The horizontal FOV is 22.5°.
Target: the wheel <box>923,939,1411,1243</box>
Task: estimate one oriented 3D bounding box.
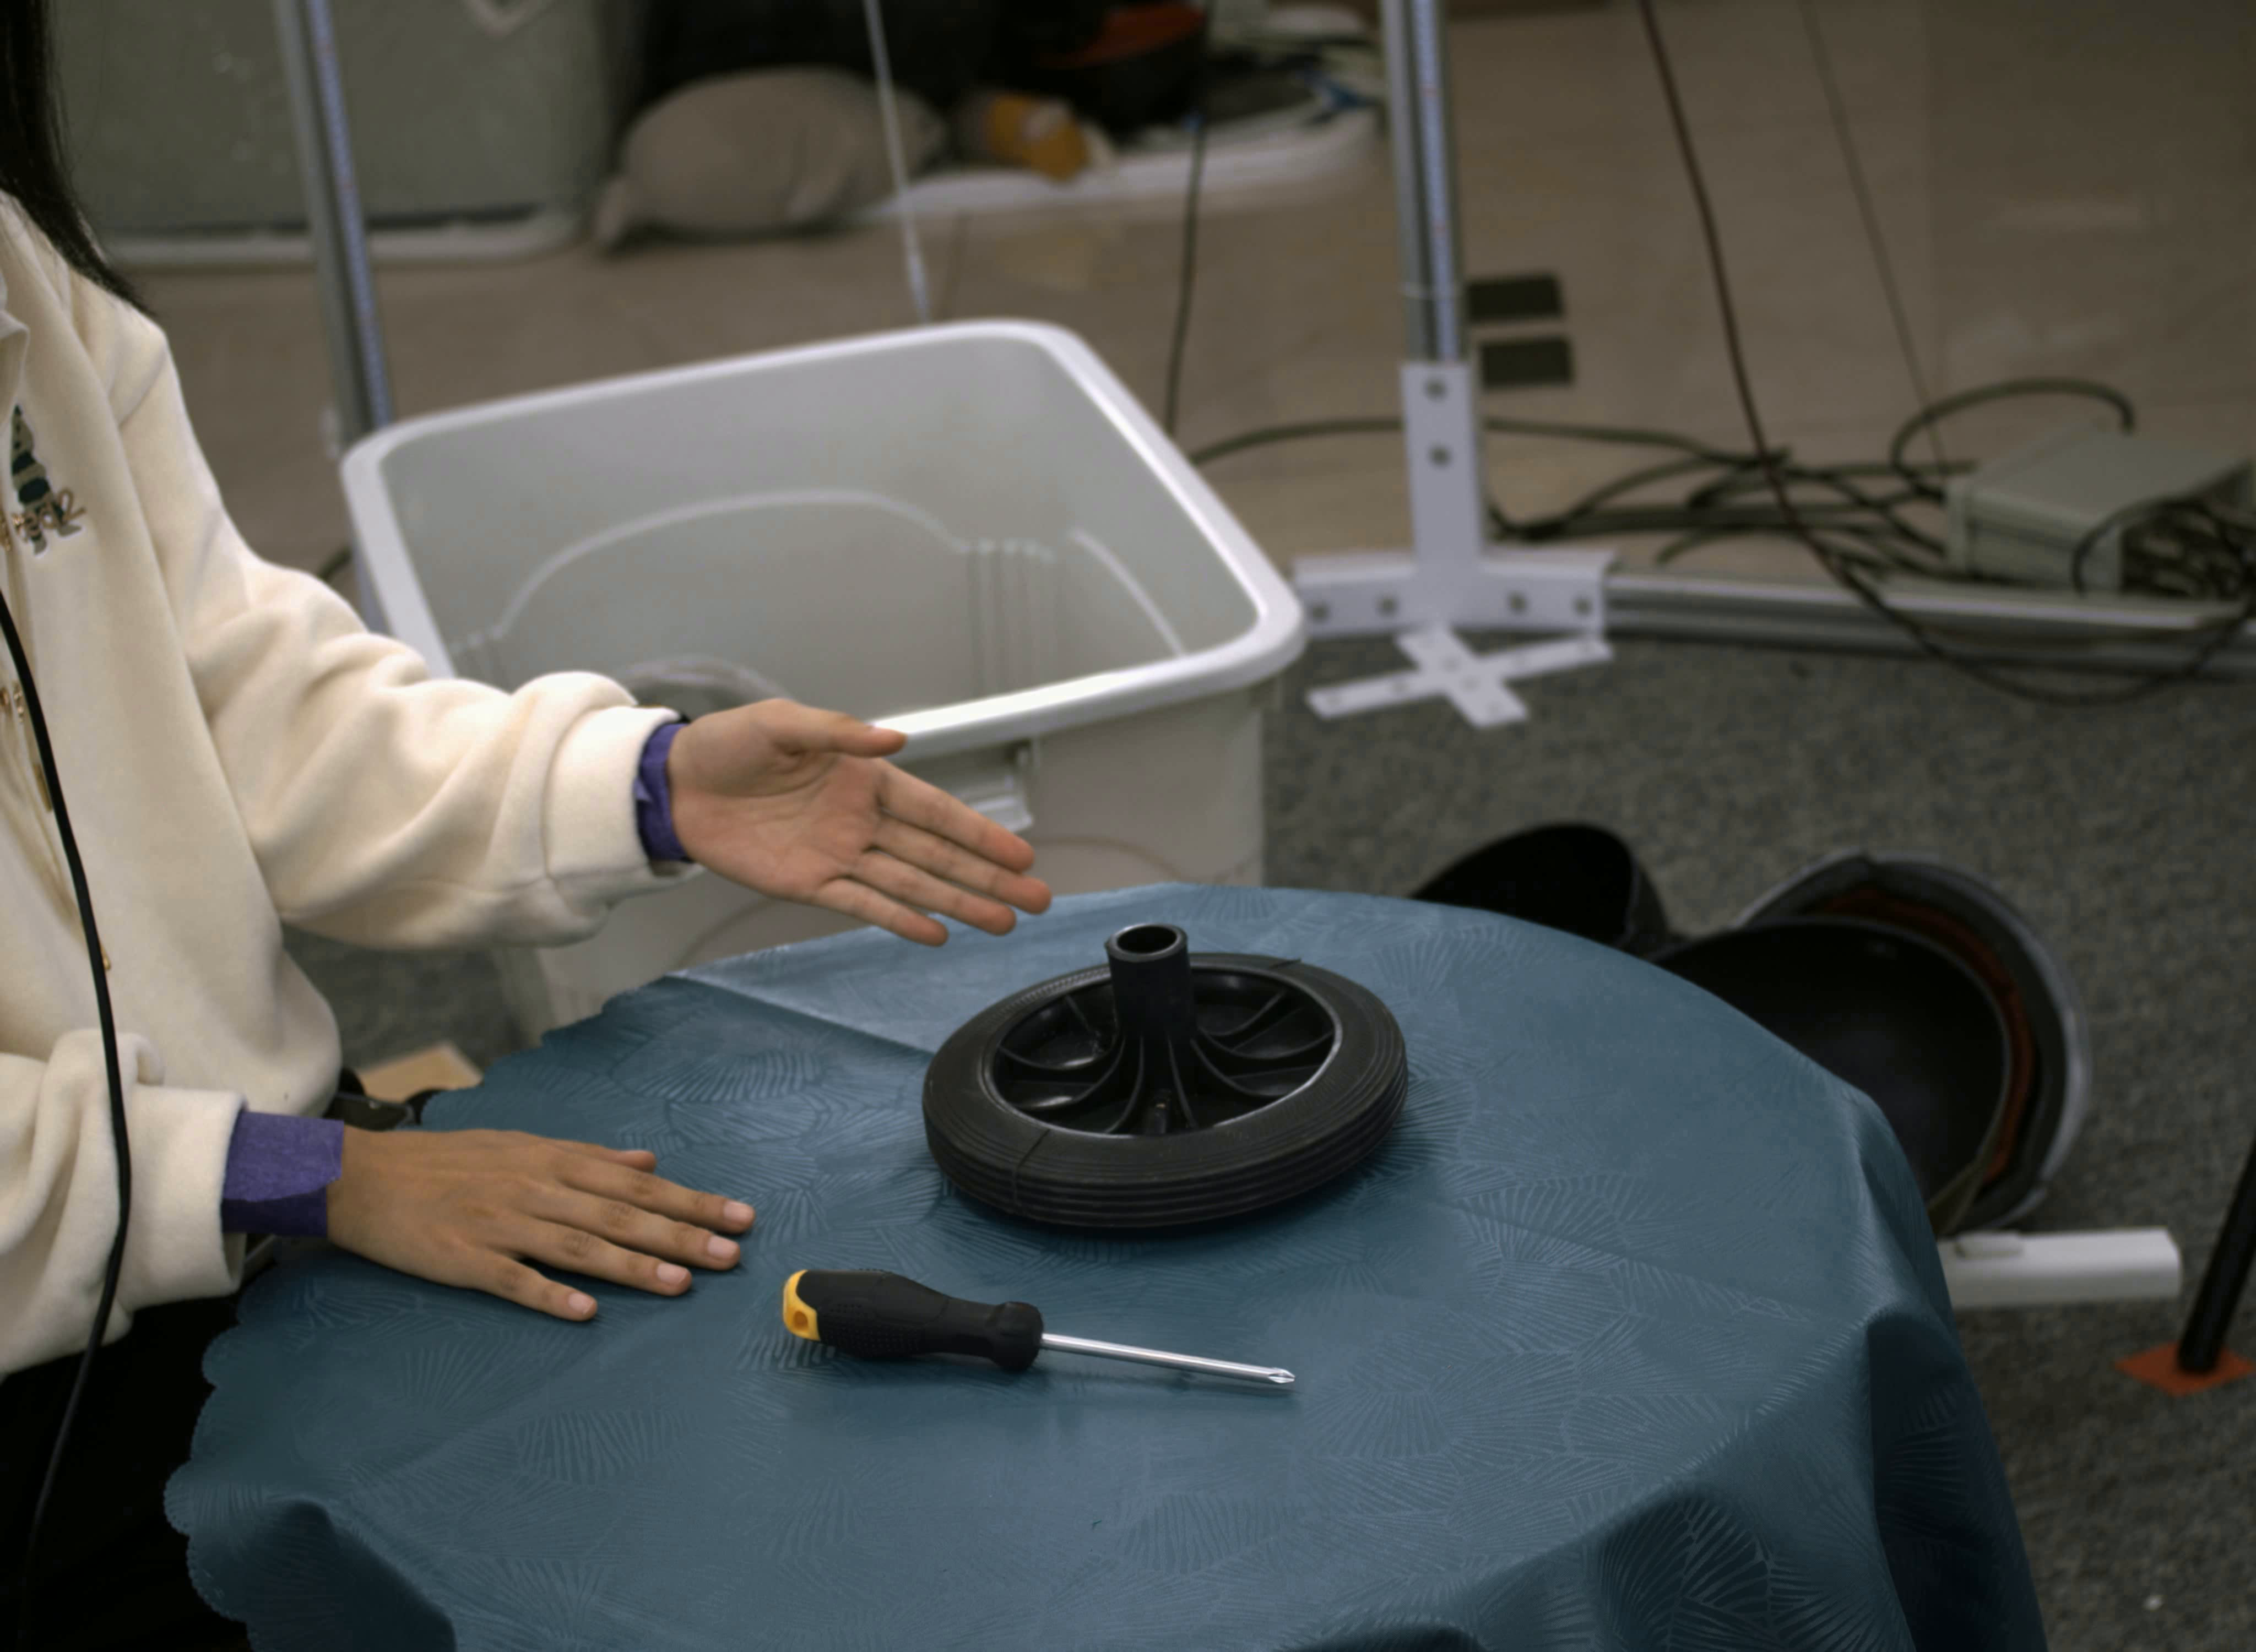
[{"bbox_3d":[0.012,0.086,2.172,0.187,0.080,0.187,-14,28,-13],"label":"wheel"}]

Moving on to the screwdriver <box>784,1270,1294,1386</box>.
[{"bbox_3d":[-0.031,0.181,2.036,0.195,0.032,0.031,5,27,18],"label":"screwdriver"}]
